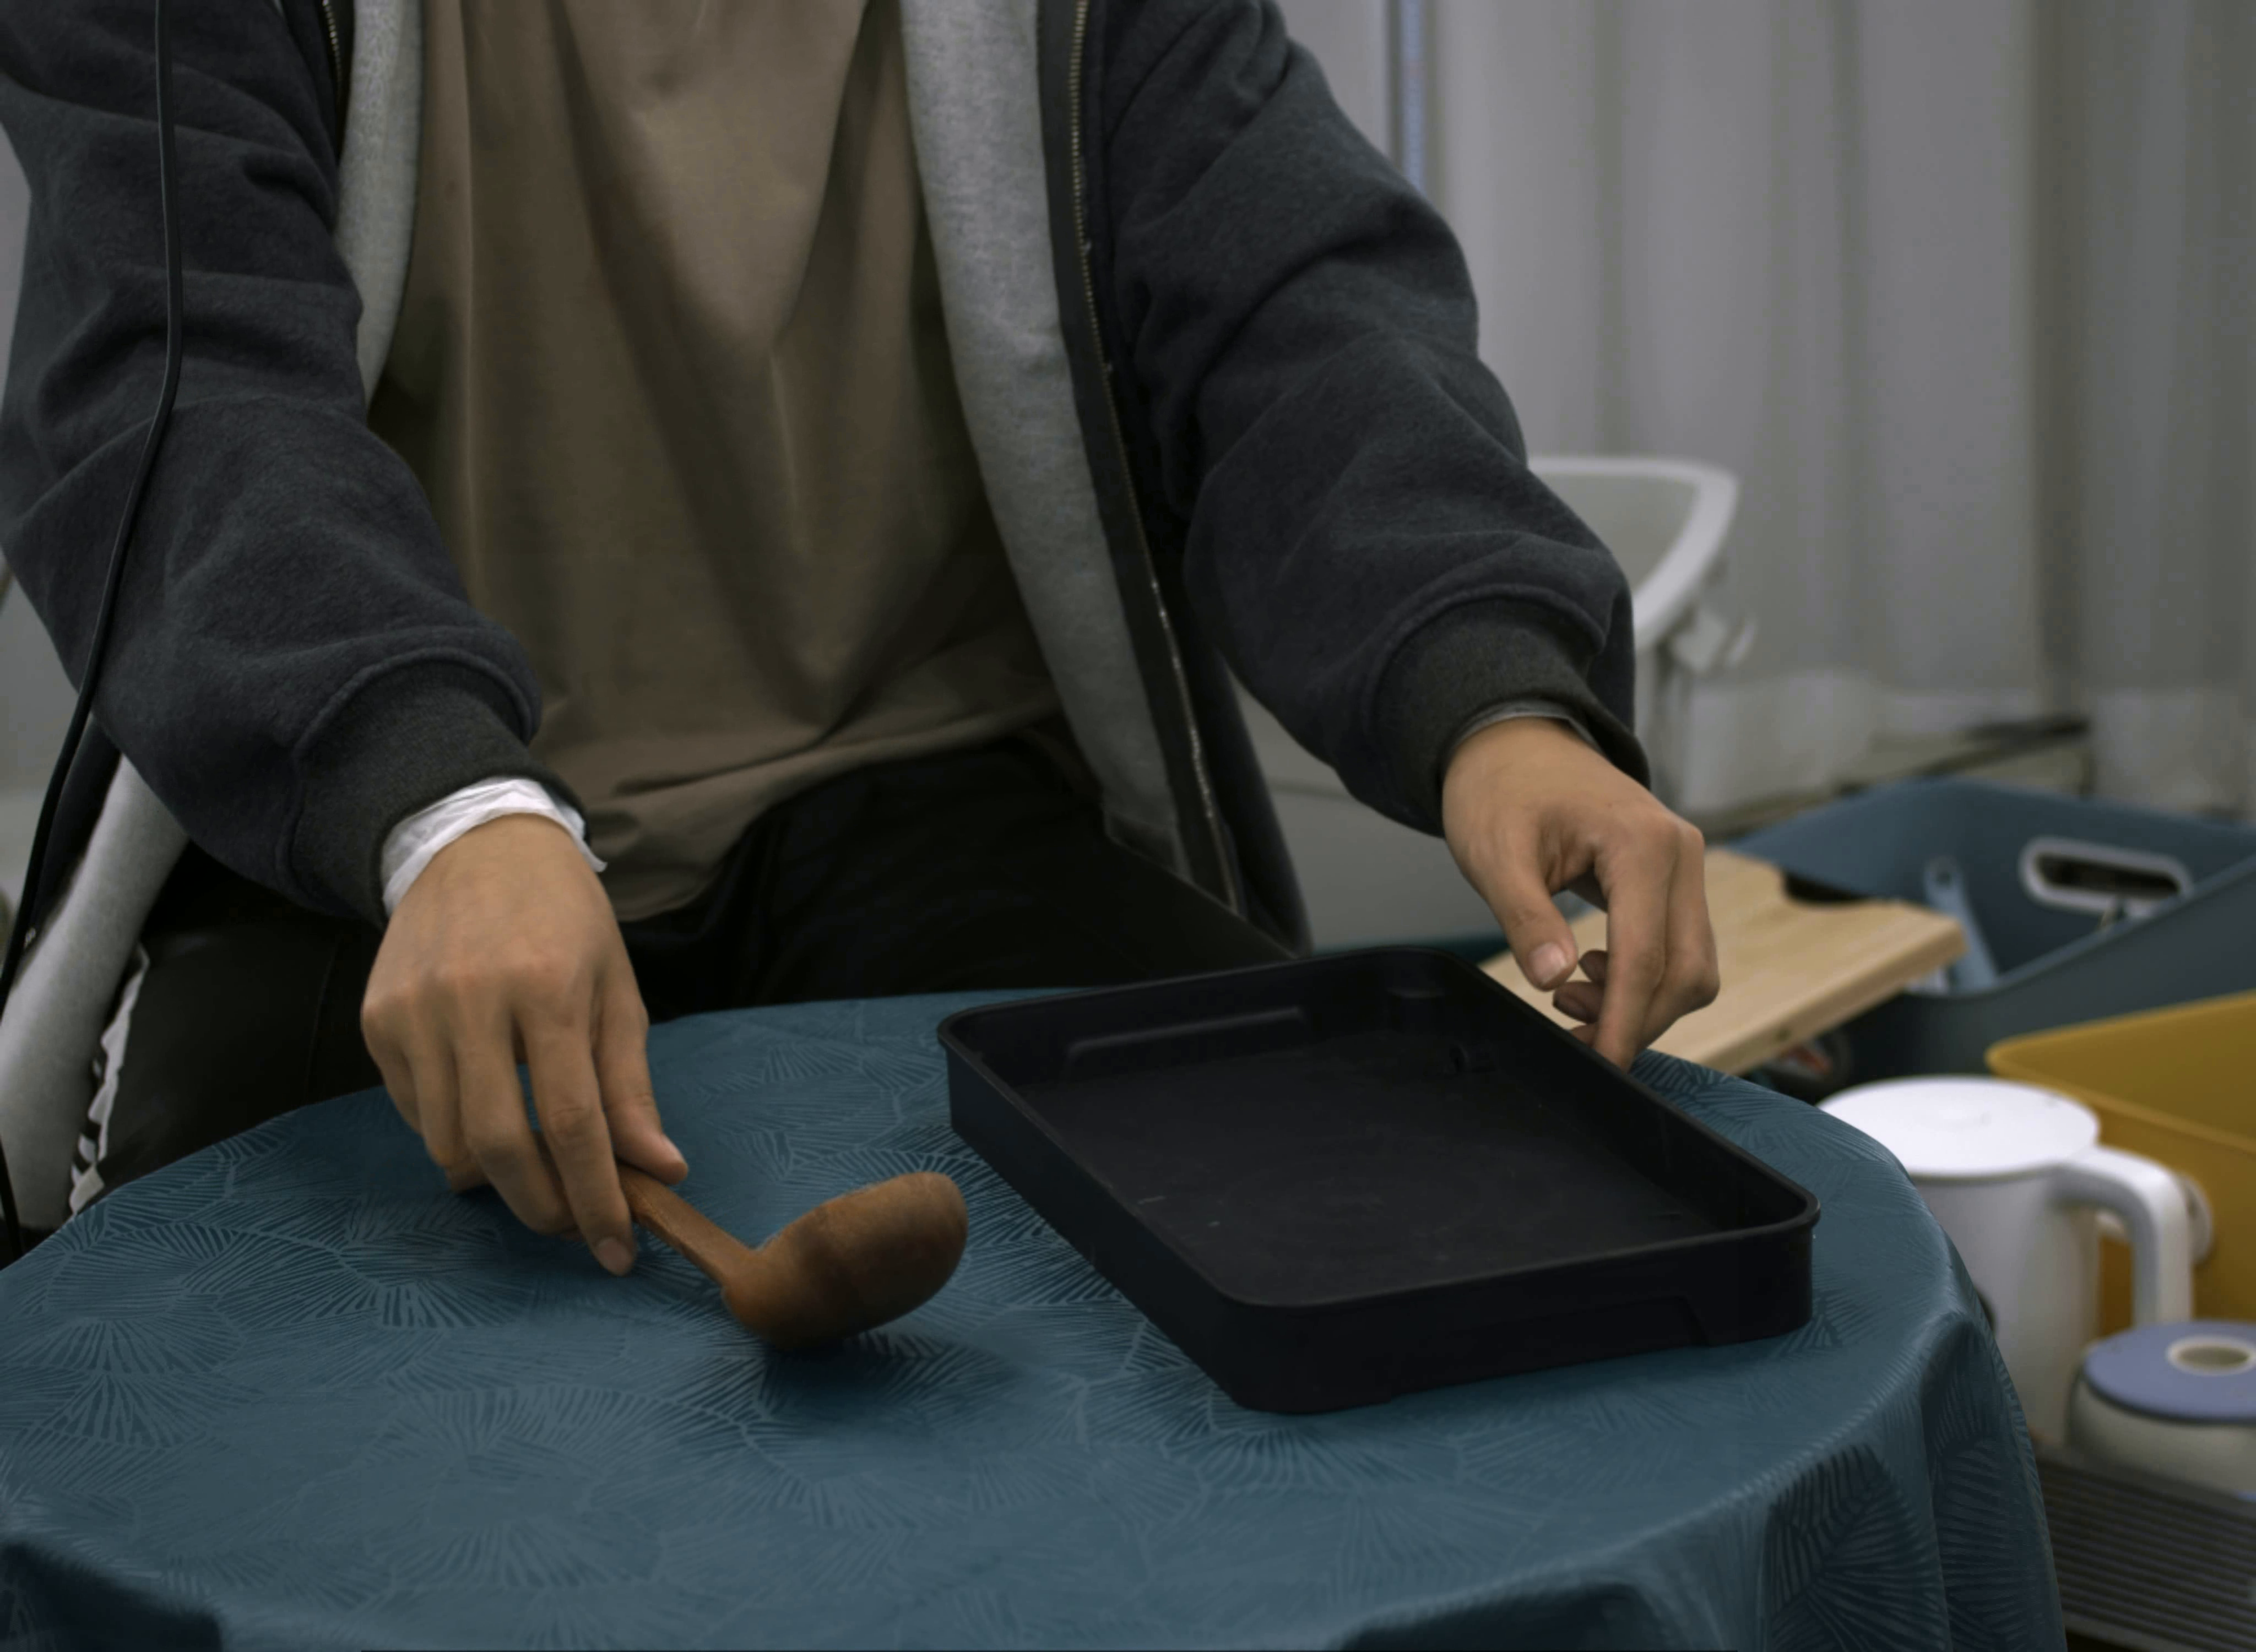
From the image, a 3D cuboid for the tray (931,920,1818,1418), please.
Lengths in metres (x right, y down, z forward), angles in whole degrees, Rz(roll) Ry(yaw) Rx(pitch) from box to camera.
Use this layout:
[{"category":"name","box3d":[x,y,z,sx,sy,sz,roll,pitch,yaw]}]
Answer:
[{"category":"tray","box3d":[0.068,0.099,1.680,0.183,0.037,0.321,-8,17,-17]}]

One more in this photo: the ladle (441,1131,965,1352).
[{"category":"ladle","box3d":[-0.139,0.108,1.646,0.076,0.065,0.262,-13,18,-34]}]
